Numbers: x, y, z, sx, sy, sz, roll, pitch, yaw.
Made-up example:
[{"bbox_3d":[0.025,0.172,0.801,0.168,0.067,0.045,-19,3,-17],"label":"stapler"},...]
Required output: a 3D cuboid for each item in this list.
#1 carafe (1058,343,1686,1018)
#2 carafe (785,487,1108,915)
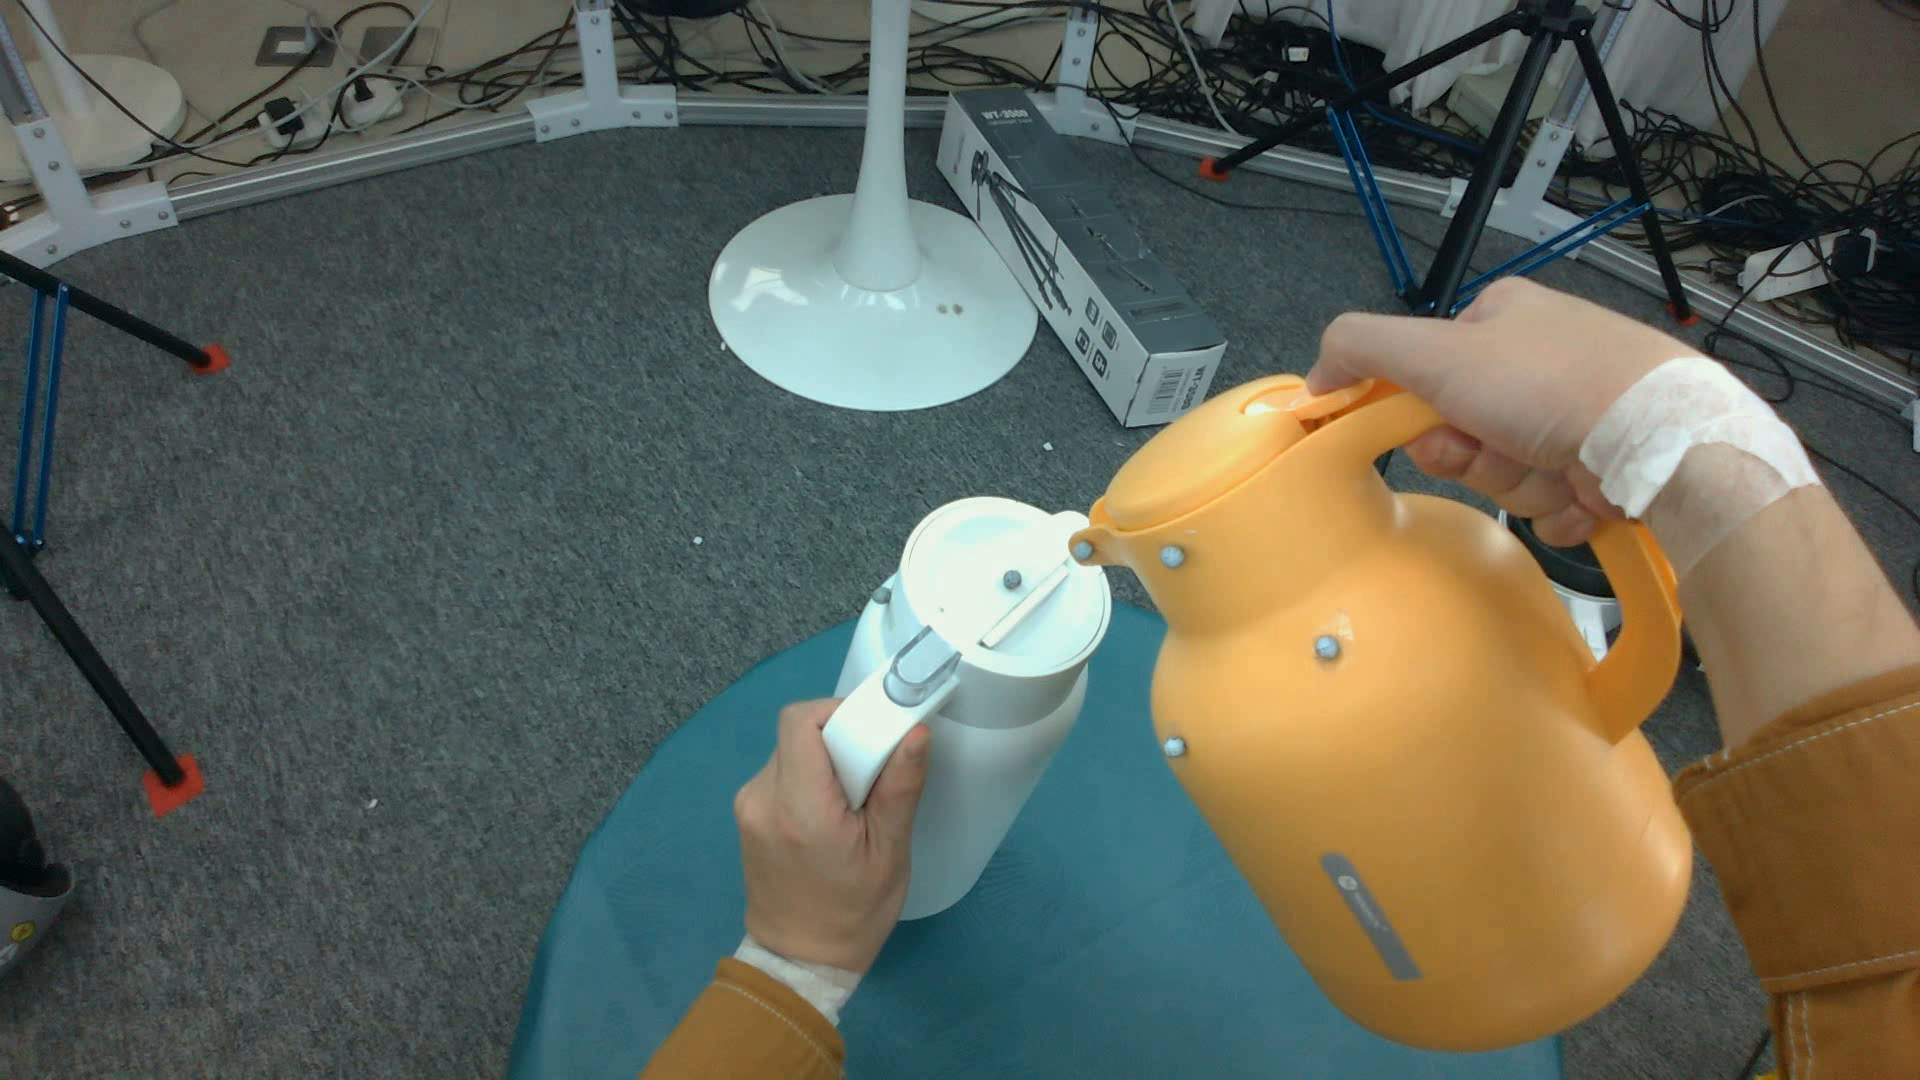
[{"bbox_3d":[0.172,0.047,0.536,0.260,0.201,0.164,51,42,-15],"label":"carafe"},{"bbox_3d":[-0.021,0.102,0.707,0.124,0.267,0.173,40,53,11],"label":"carafe"}]
